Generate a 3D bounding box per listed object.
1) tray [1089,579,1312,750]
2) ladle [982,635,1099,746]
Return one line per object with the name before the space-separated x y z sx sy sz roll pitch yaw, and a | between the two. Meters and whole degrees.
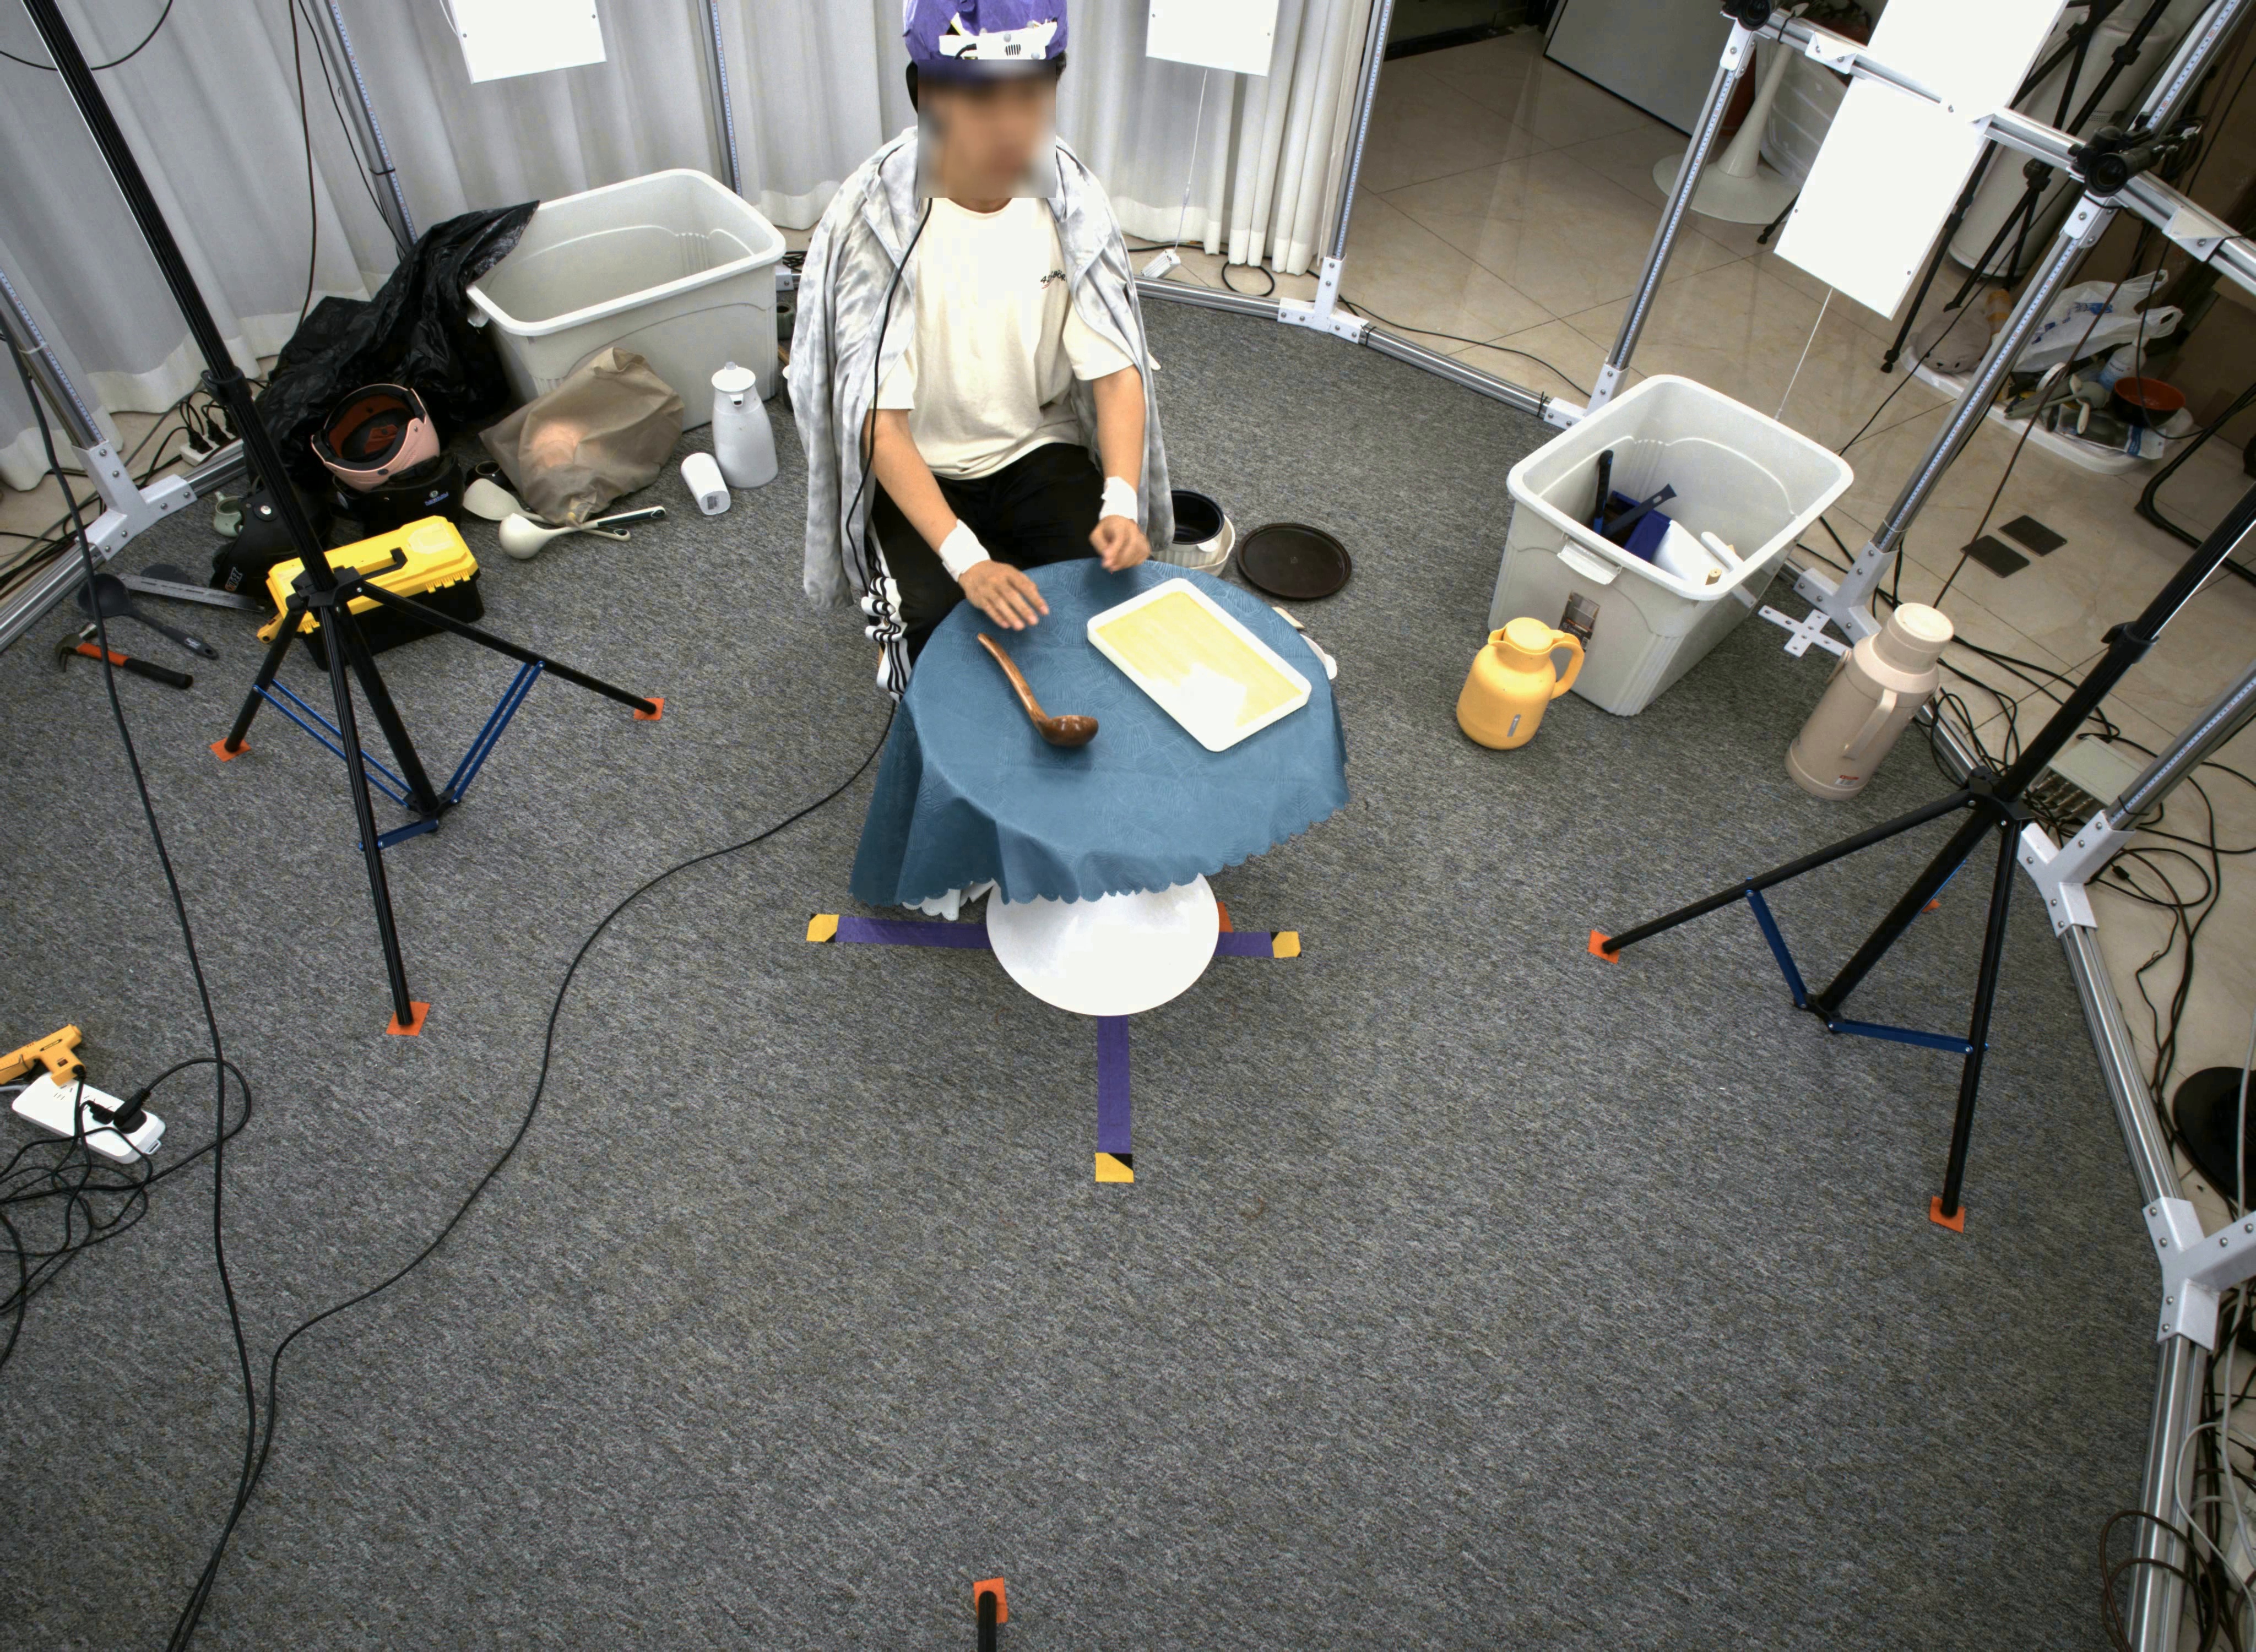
tray | 0.101 -0.240 1.859 0.193 0.027 0.306 -29 56 -26
ladle | -0.128 -0.205 1.785 0.081 0.076 0.280 19 30 -46
